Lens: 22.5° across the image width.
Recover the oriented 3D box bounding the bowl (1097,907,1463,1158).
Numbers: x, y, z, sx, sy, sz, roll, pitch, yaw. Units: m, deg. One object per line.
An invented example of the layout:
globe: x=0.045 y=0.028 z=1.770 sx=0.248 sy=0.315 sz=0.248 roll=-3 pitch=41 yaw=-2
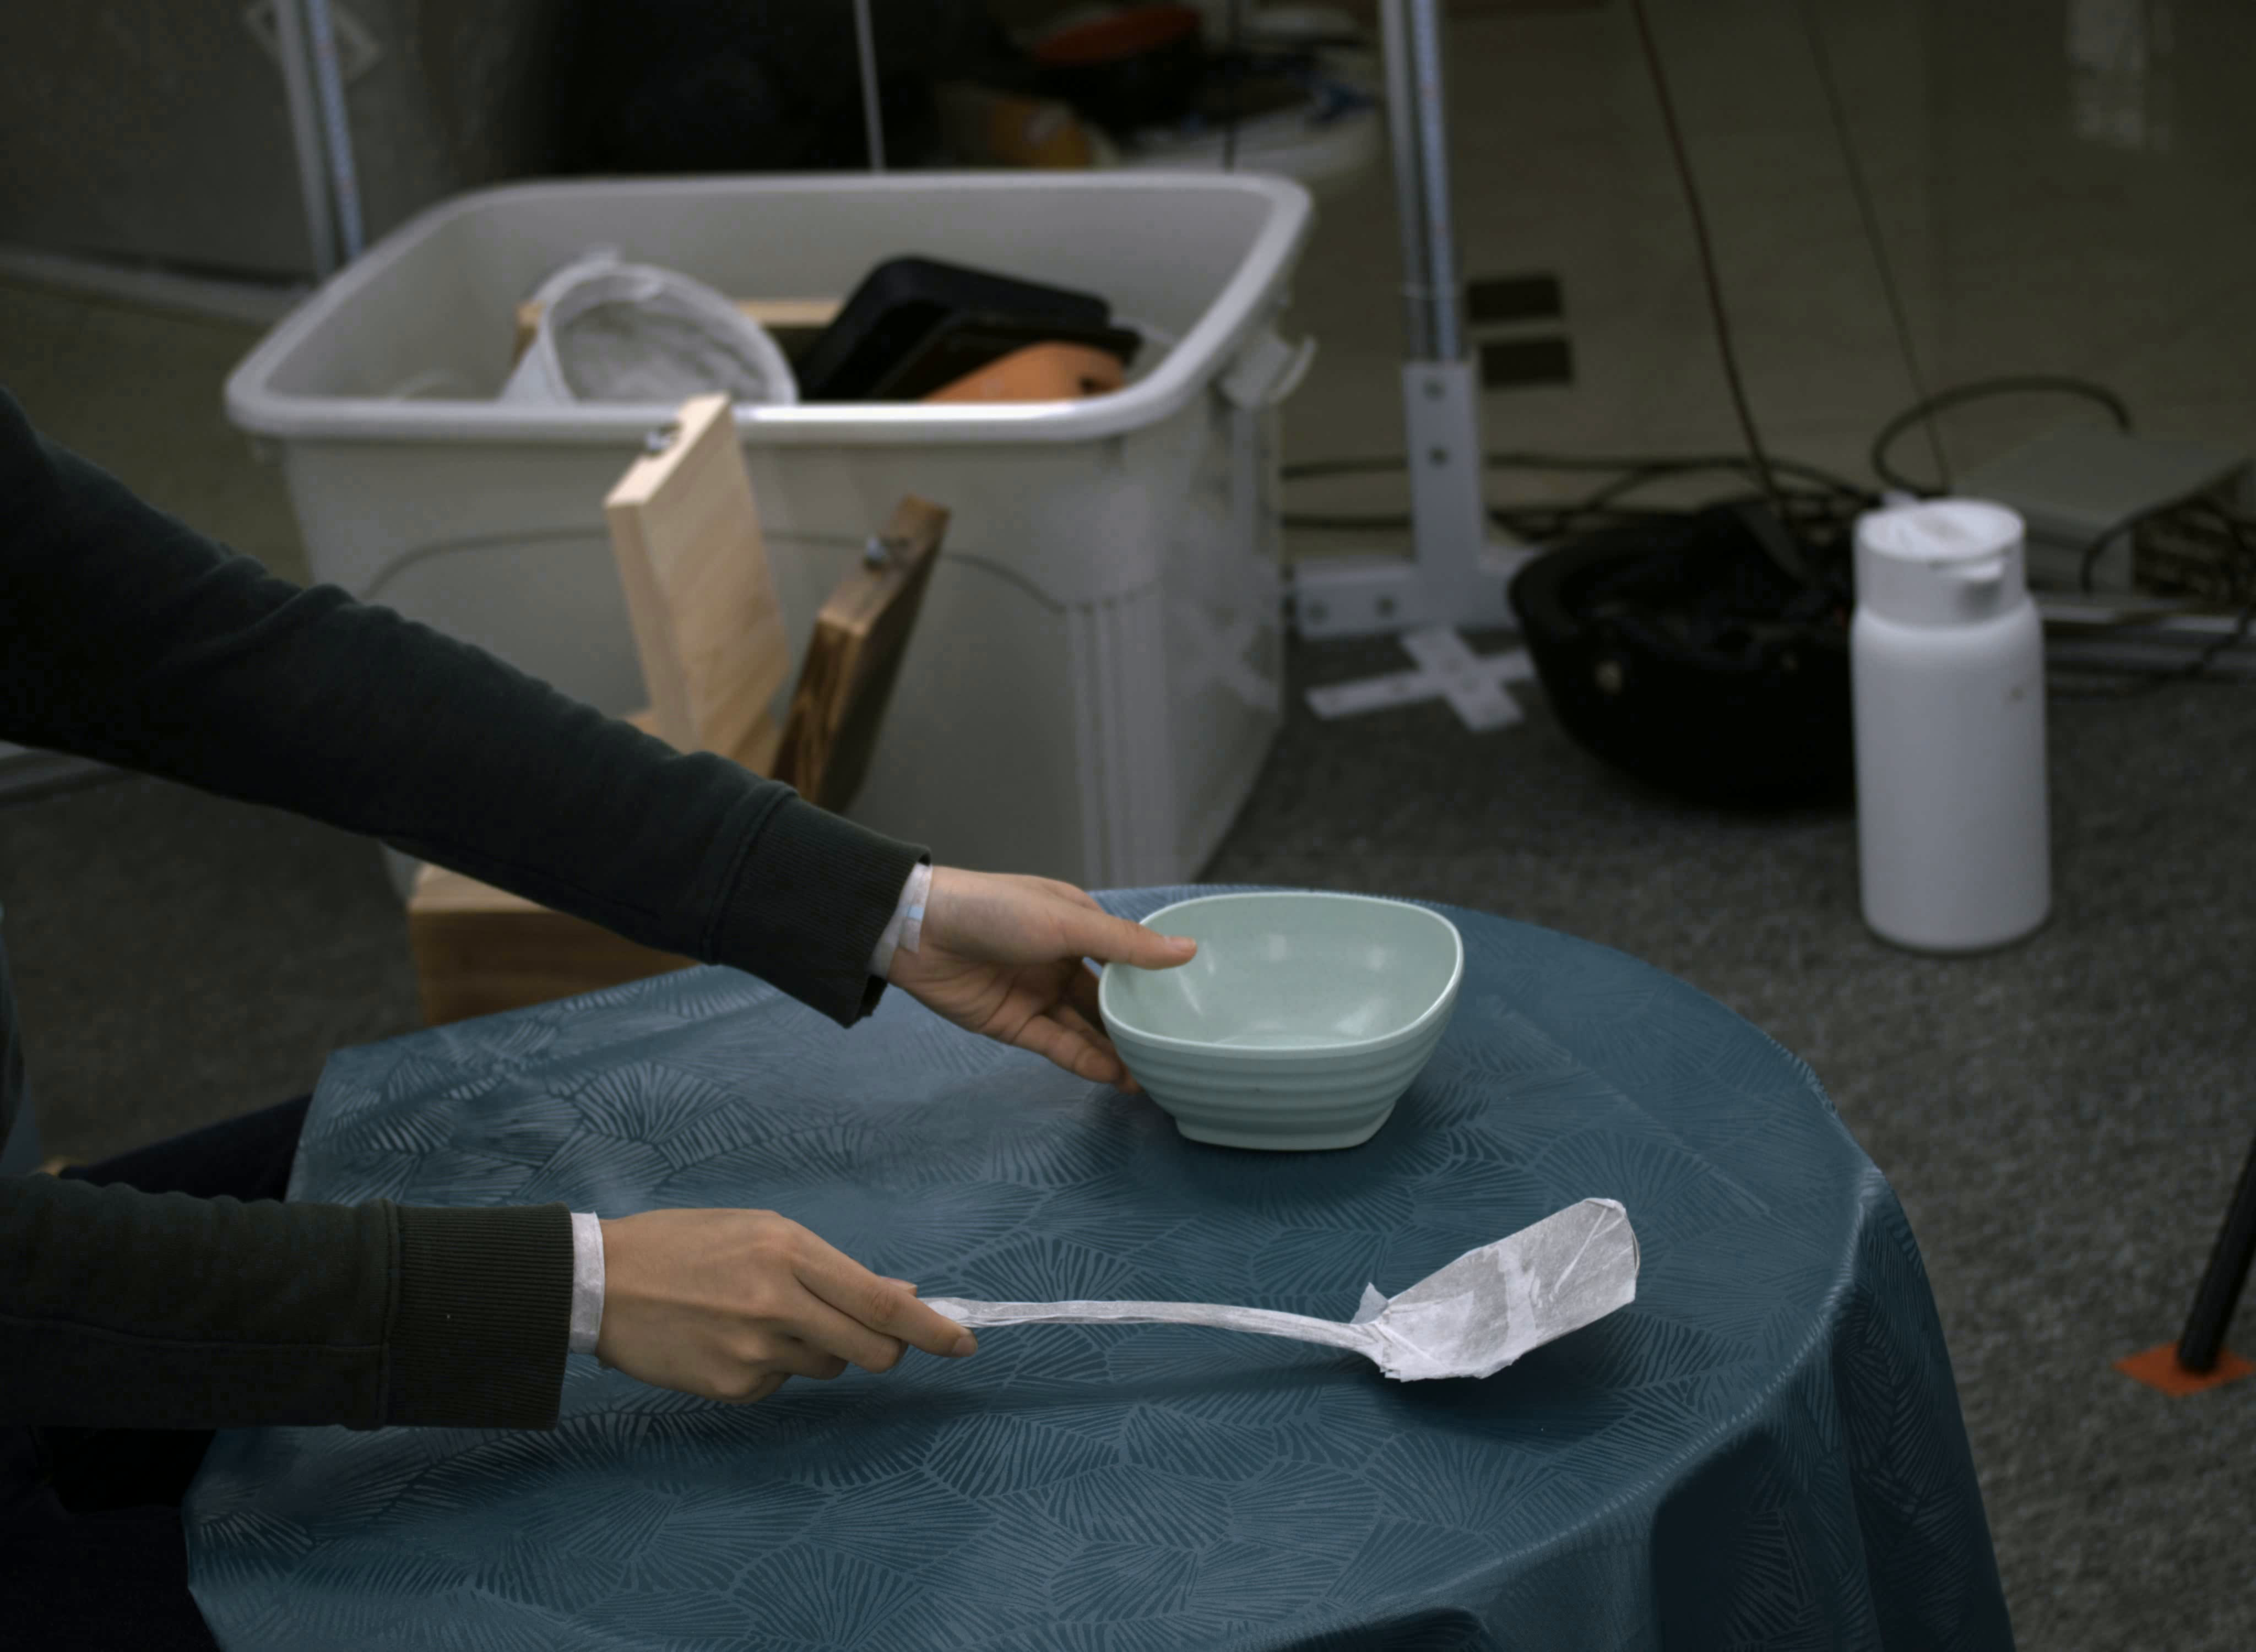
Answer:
bowl: x=0.060 y=0.084 z=2.187 sx=0.151 sy=0.059 sz=0.149 roll=-3 pitch=23 yaw=1

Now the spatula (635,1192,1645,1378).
spatula: x=0.001 y=0.168 z=2.017 sx=0.364 sy=0.045 sz=0.097 roll=0 pitch=24 yaw=5
